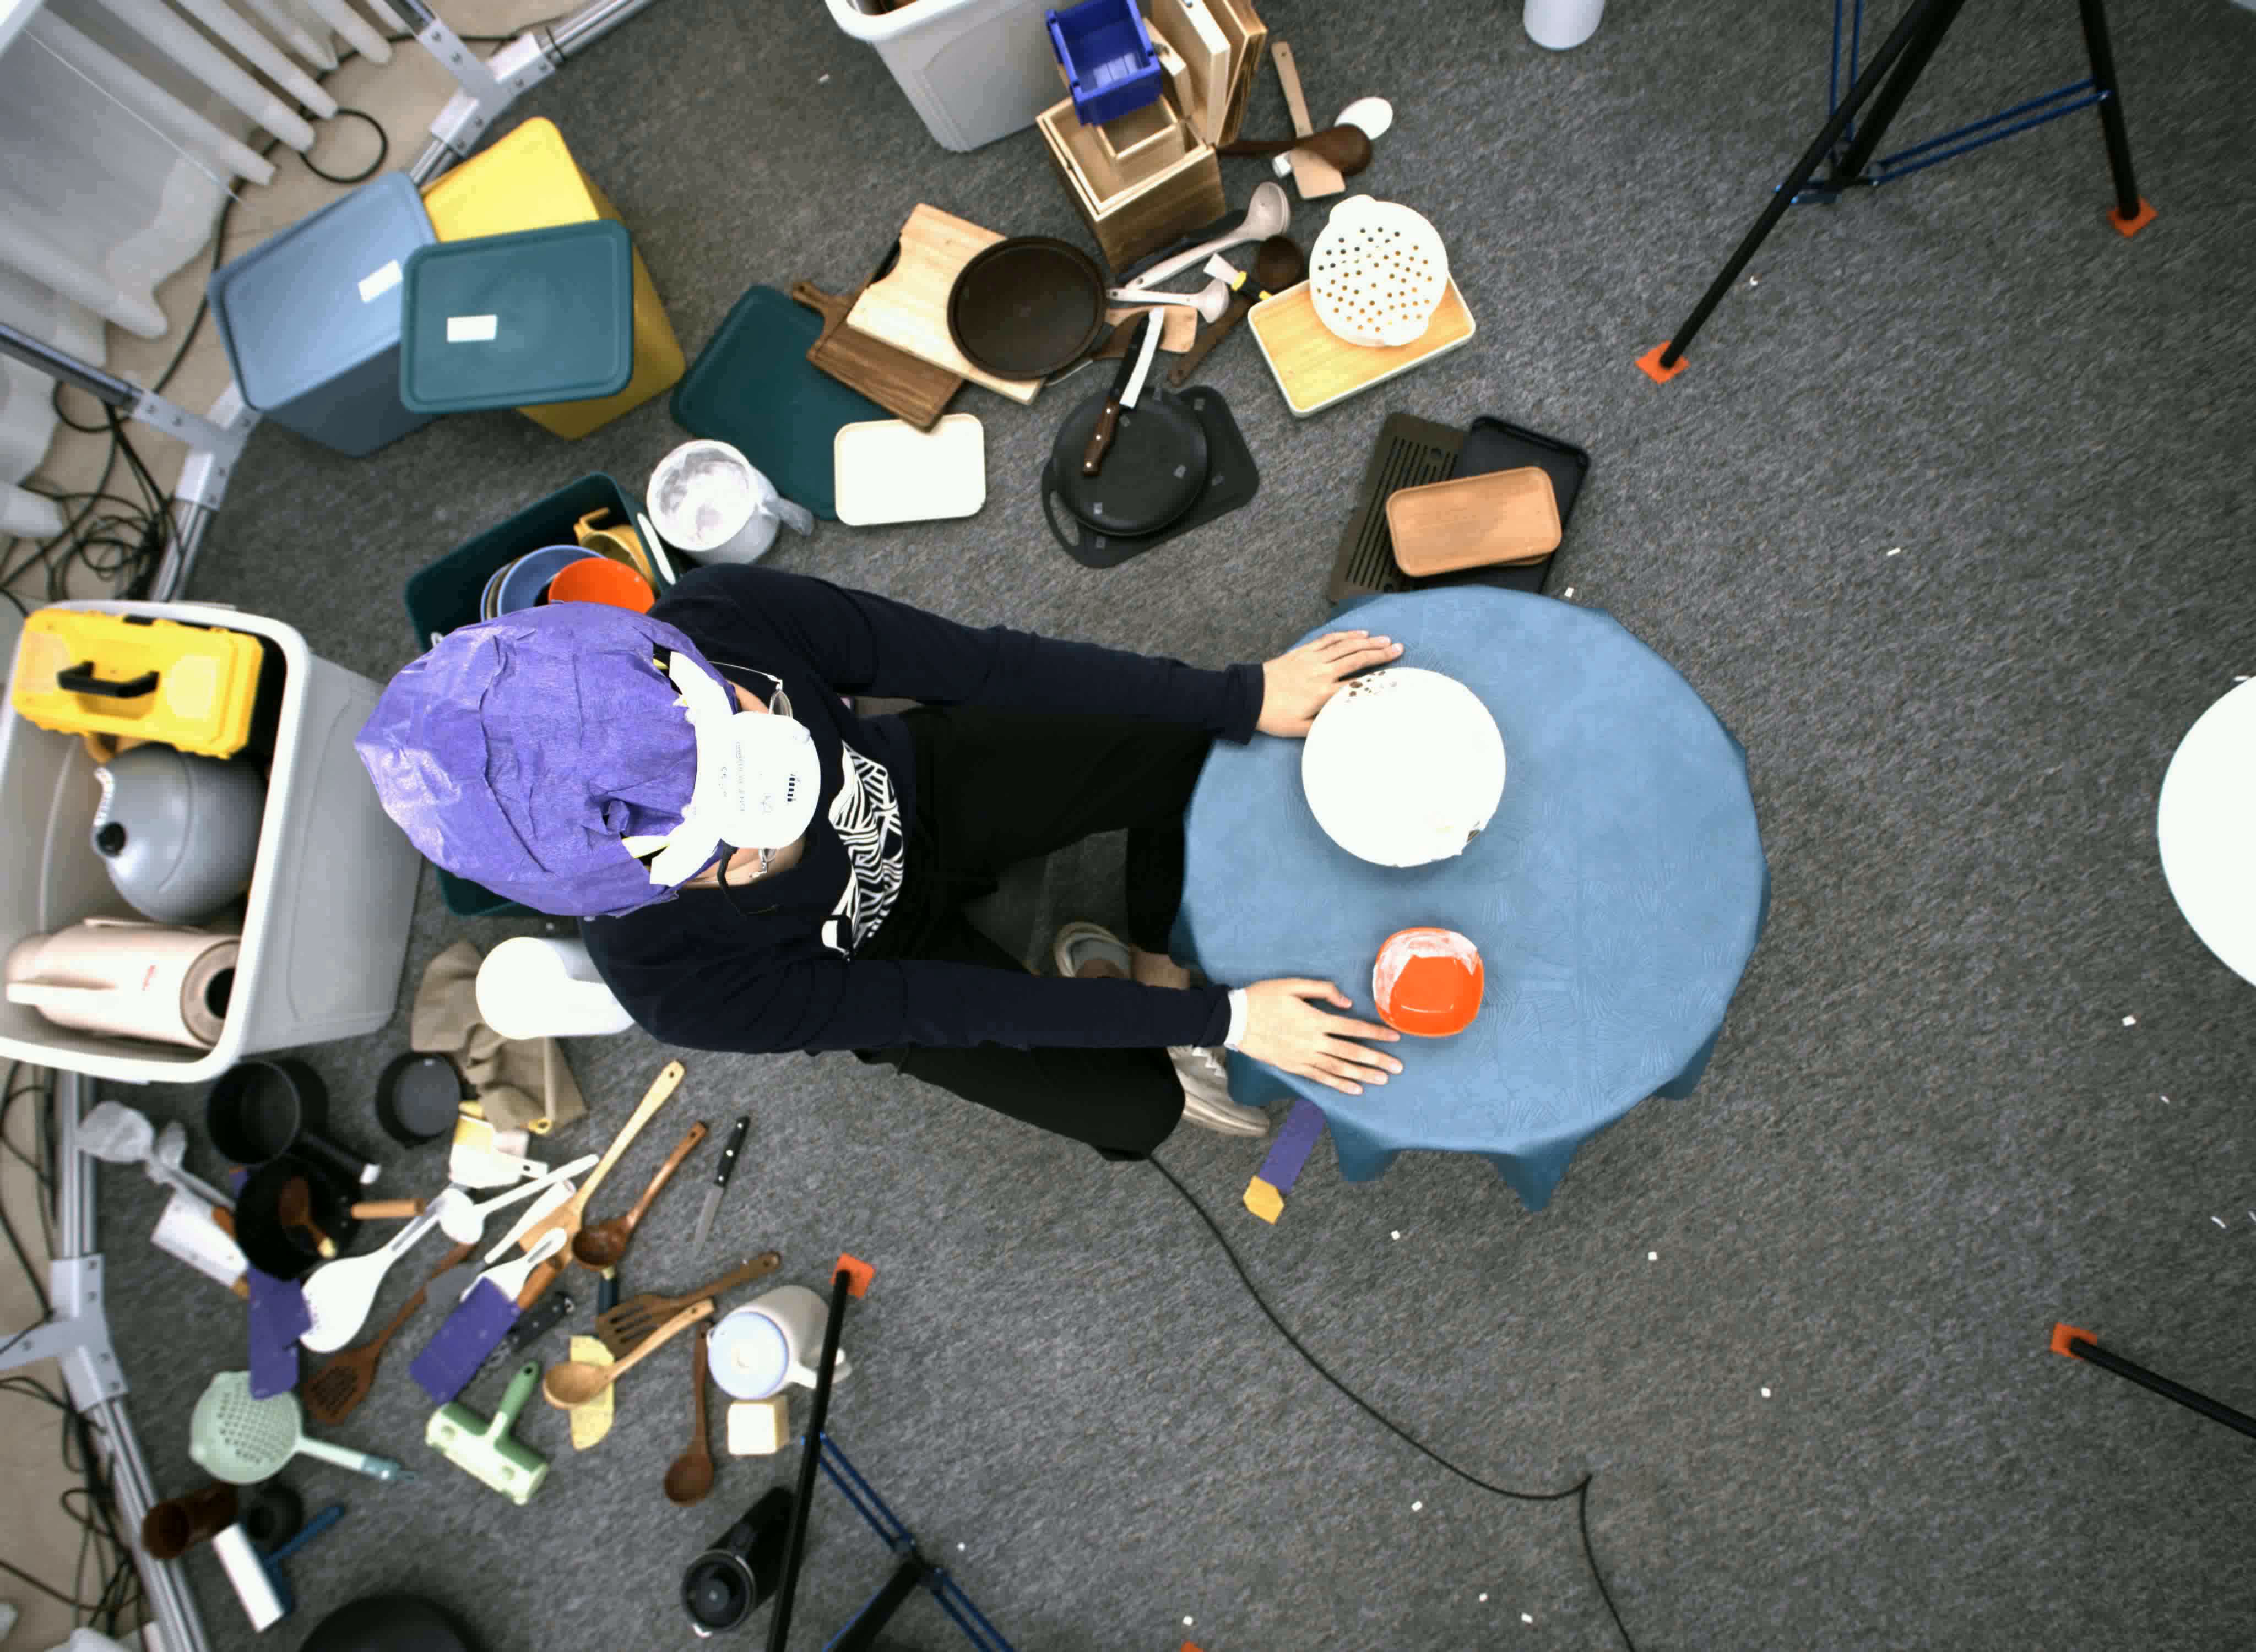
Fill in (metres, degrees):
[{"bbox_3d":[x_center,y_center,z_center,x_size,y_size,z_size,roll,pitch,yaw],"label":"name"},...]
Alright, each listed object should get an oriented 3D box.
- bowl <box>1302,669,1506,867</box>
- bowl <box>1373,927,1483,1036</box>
[{"bbox_3d":[0.285,-0.057,1.426,0.205,0.078,0.203,-1,85,11],"label":"bowl"},{"bbox_3d":[0.308,0.158,1.422,0.119,0.051,0.118,-1,87,10],"label":"bowl"}]
